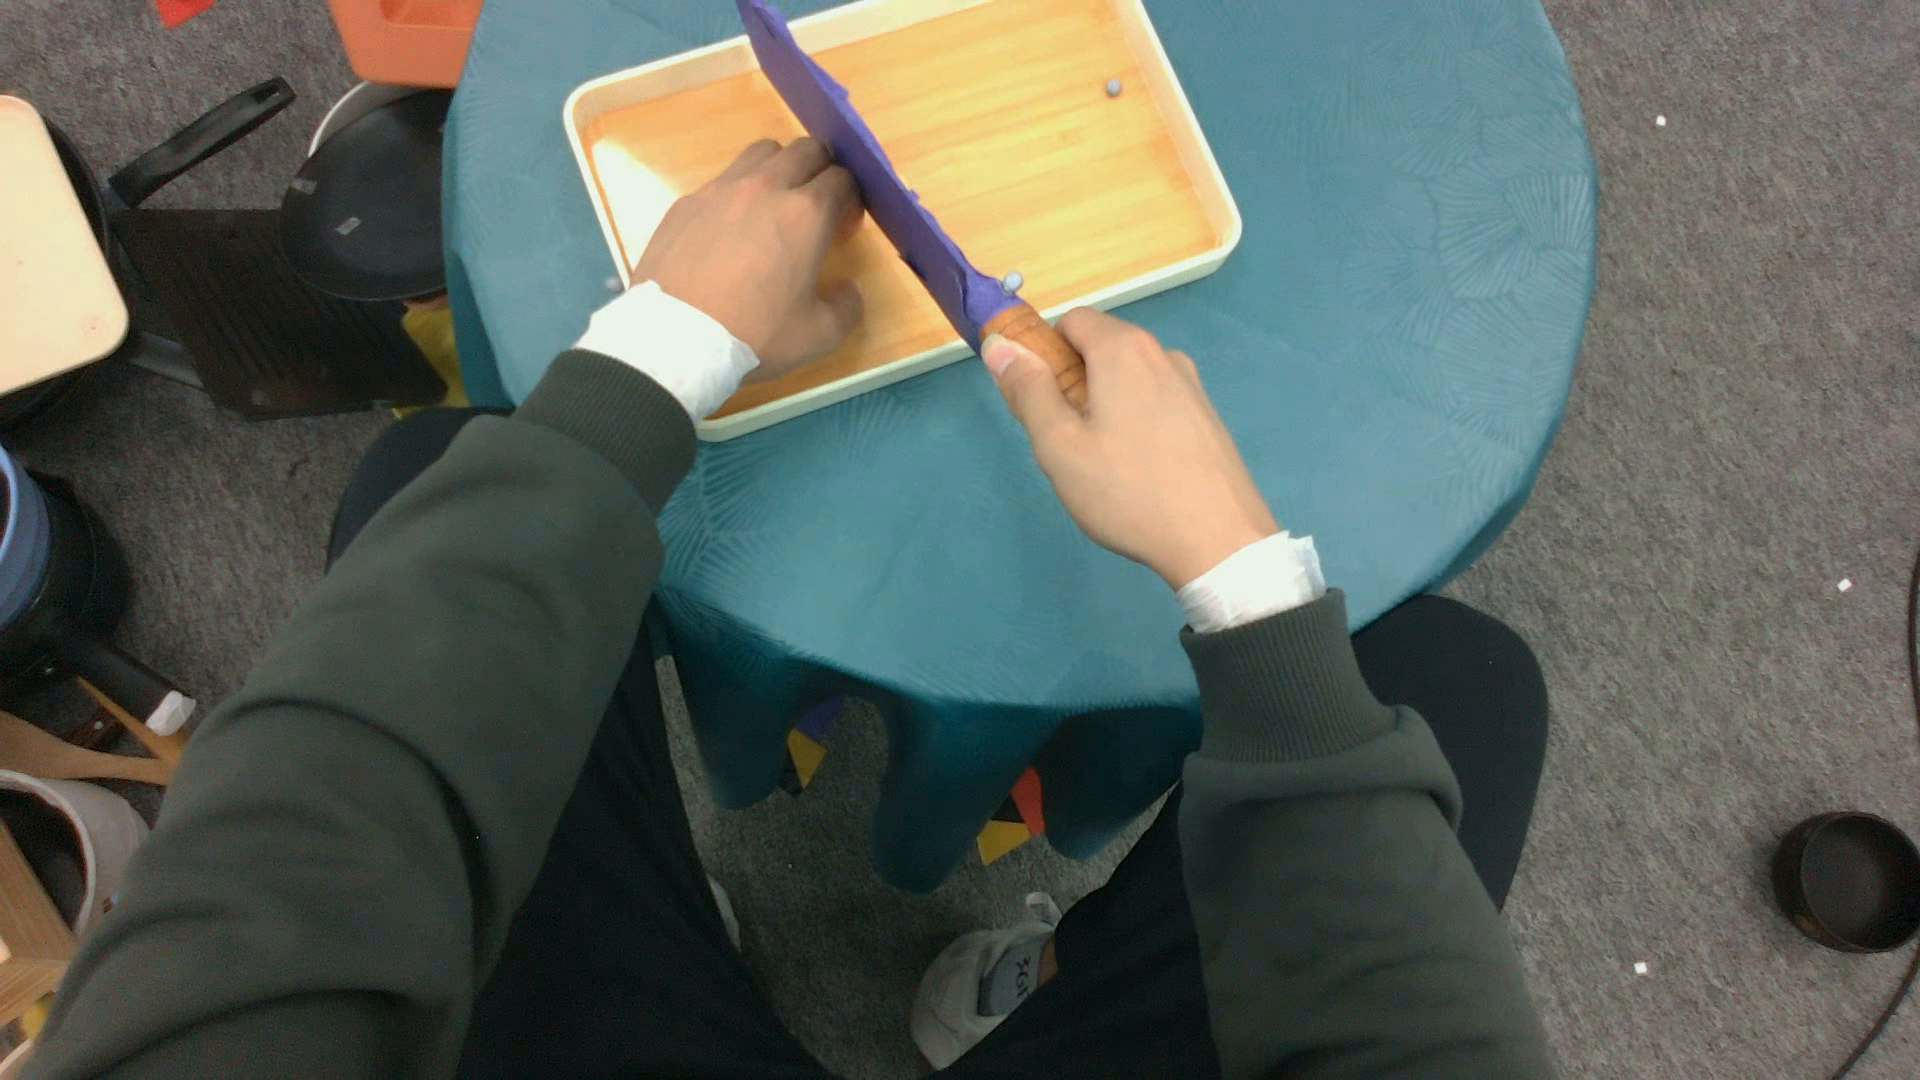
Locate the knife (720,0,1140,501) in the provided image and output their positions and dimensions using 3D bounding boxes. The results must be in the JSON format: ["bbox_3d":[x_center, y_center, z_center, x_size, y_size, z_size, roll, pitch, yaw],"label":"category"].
[{"bbox_3d":[-0.022,-0.140,0.618,0.032,0.103,0.315,-33,75,-5],"label":"knife"}]

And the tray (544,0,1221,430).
[{"bbox_3d":[-0.037,-0.186,0.694,0.301,0.027,0.192,-20,78,-11],"label":"tray"}]
